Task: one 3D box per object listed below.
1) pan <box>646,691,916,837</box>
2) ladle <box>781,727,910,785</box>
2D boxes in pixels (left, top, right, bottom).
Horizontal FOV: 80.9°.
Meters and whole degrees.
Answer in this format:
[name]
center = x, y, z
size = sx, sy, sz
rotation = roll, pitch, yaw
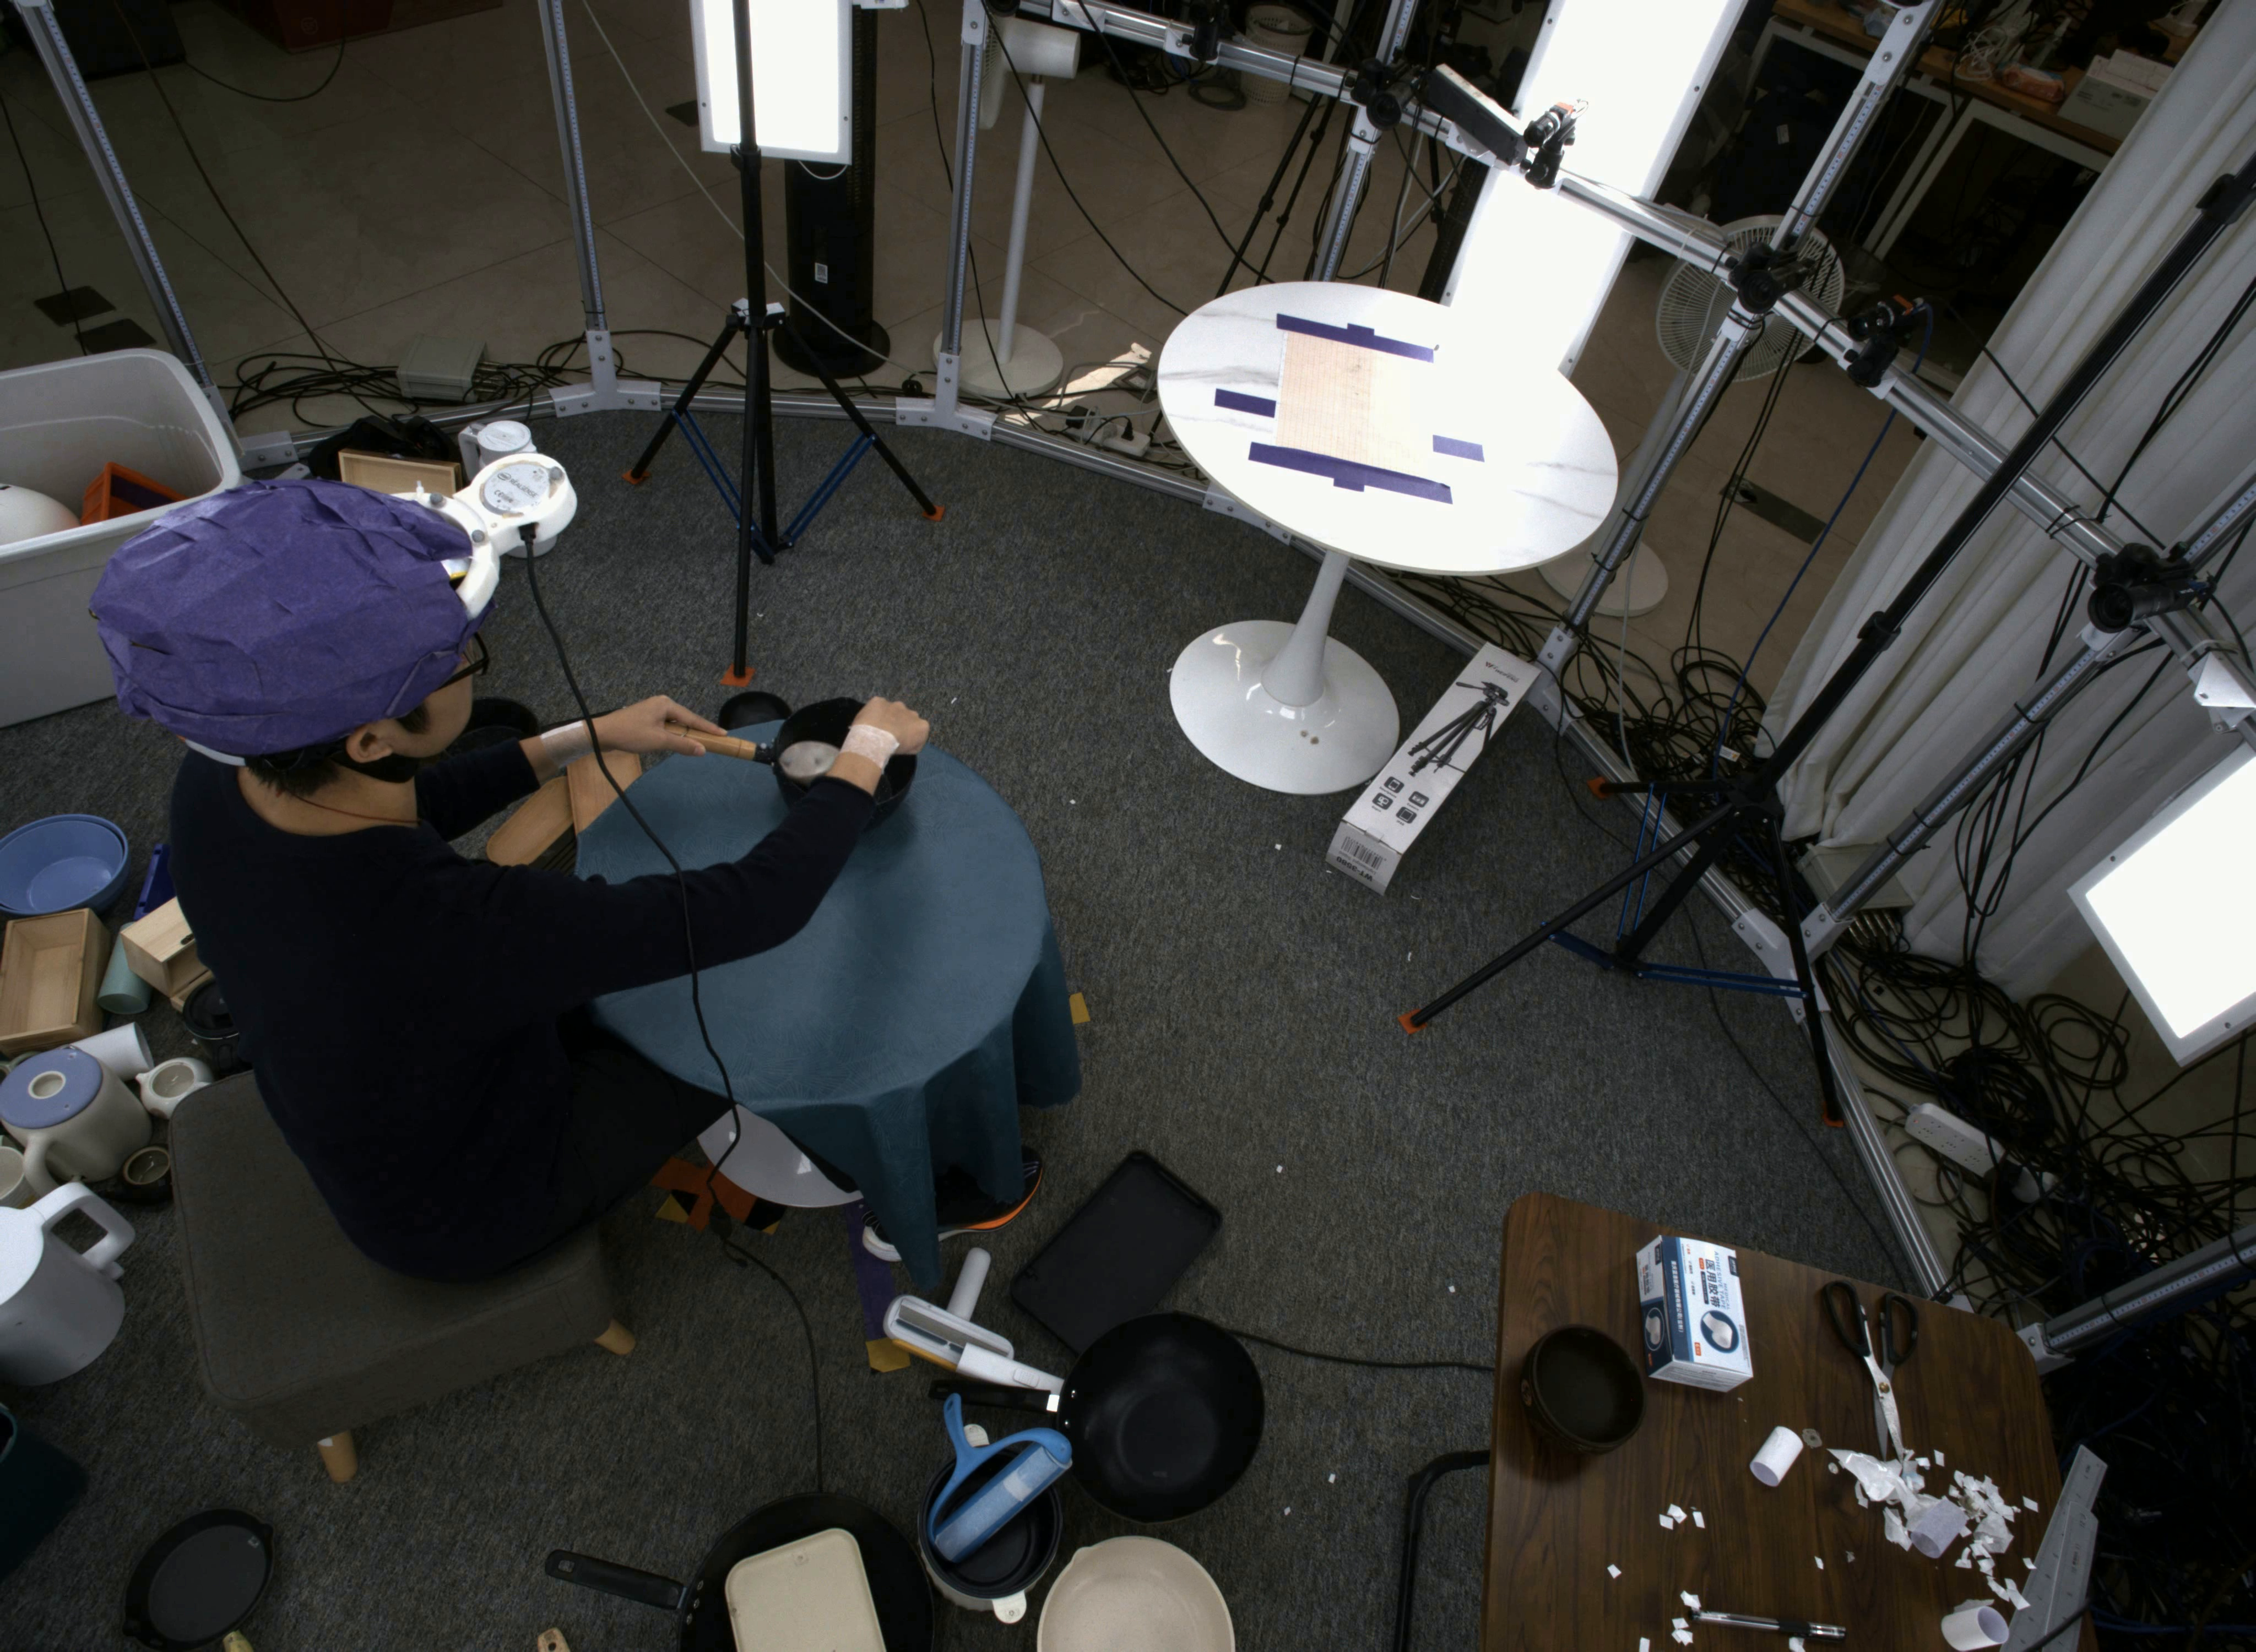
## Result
[pan]
center = -0.450, -0.084, 1.676
size = 0.346, 0.109, 0.203
rotation = 4, 54, -23
[ladle]
center = -0.354, -0.114, 1.641
size = 0.090, 0.269, 0.070
rotation = -18, 88, -40
